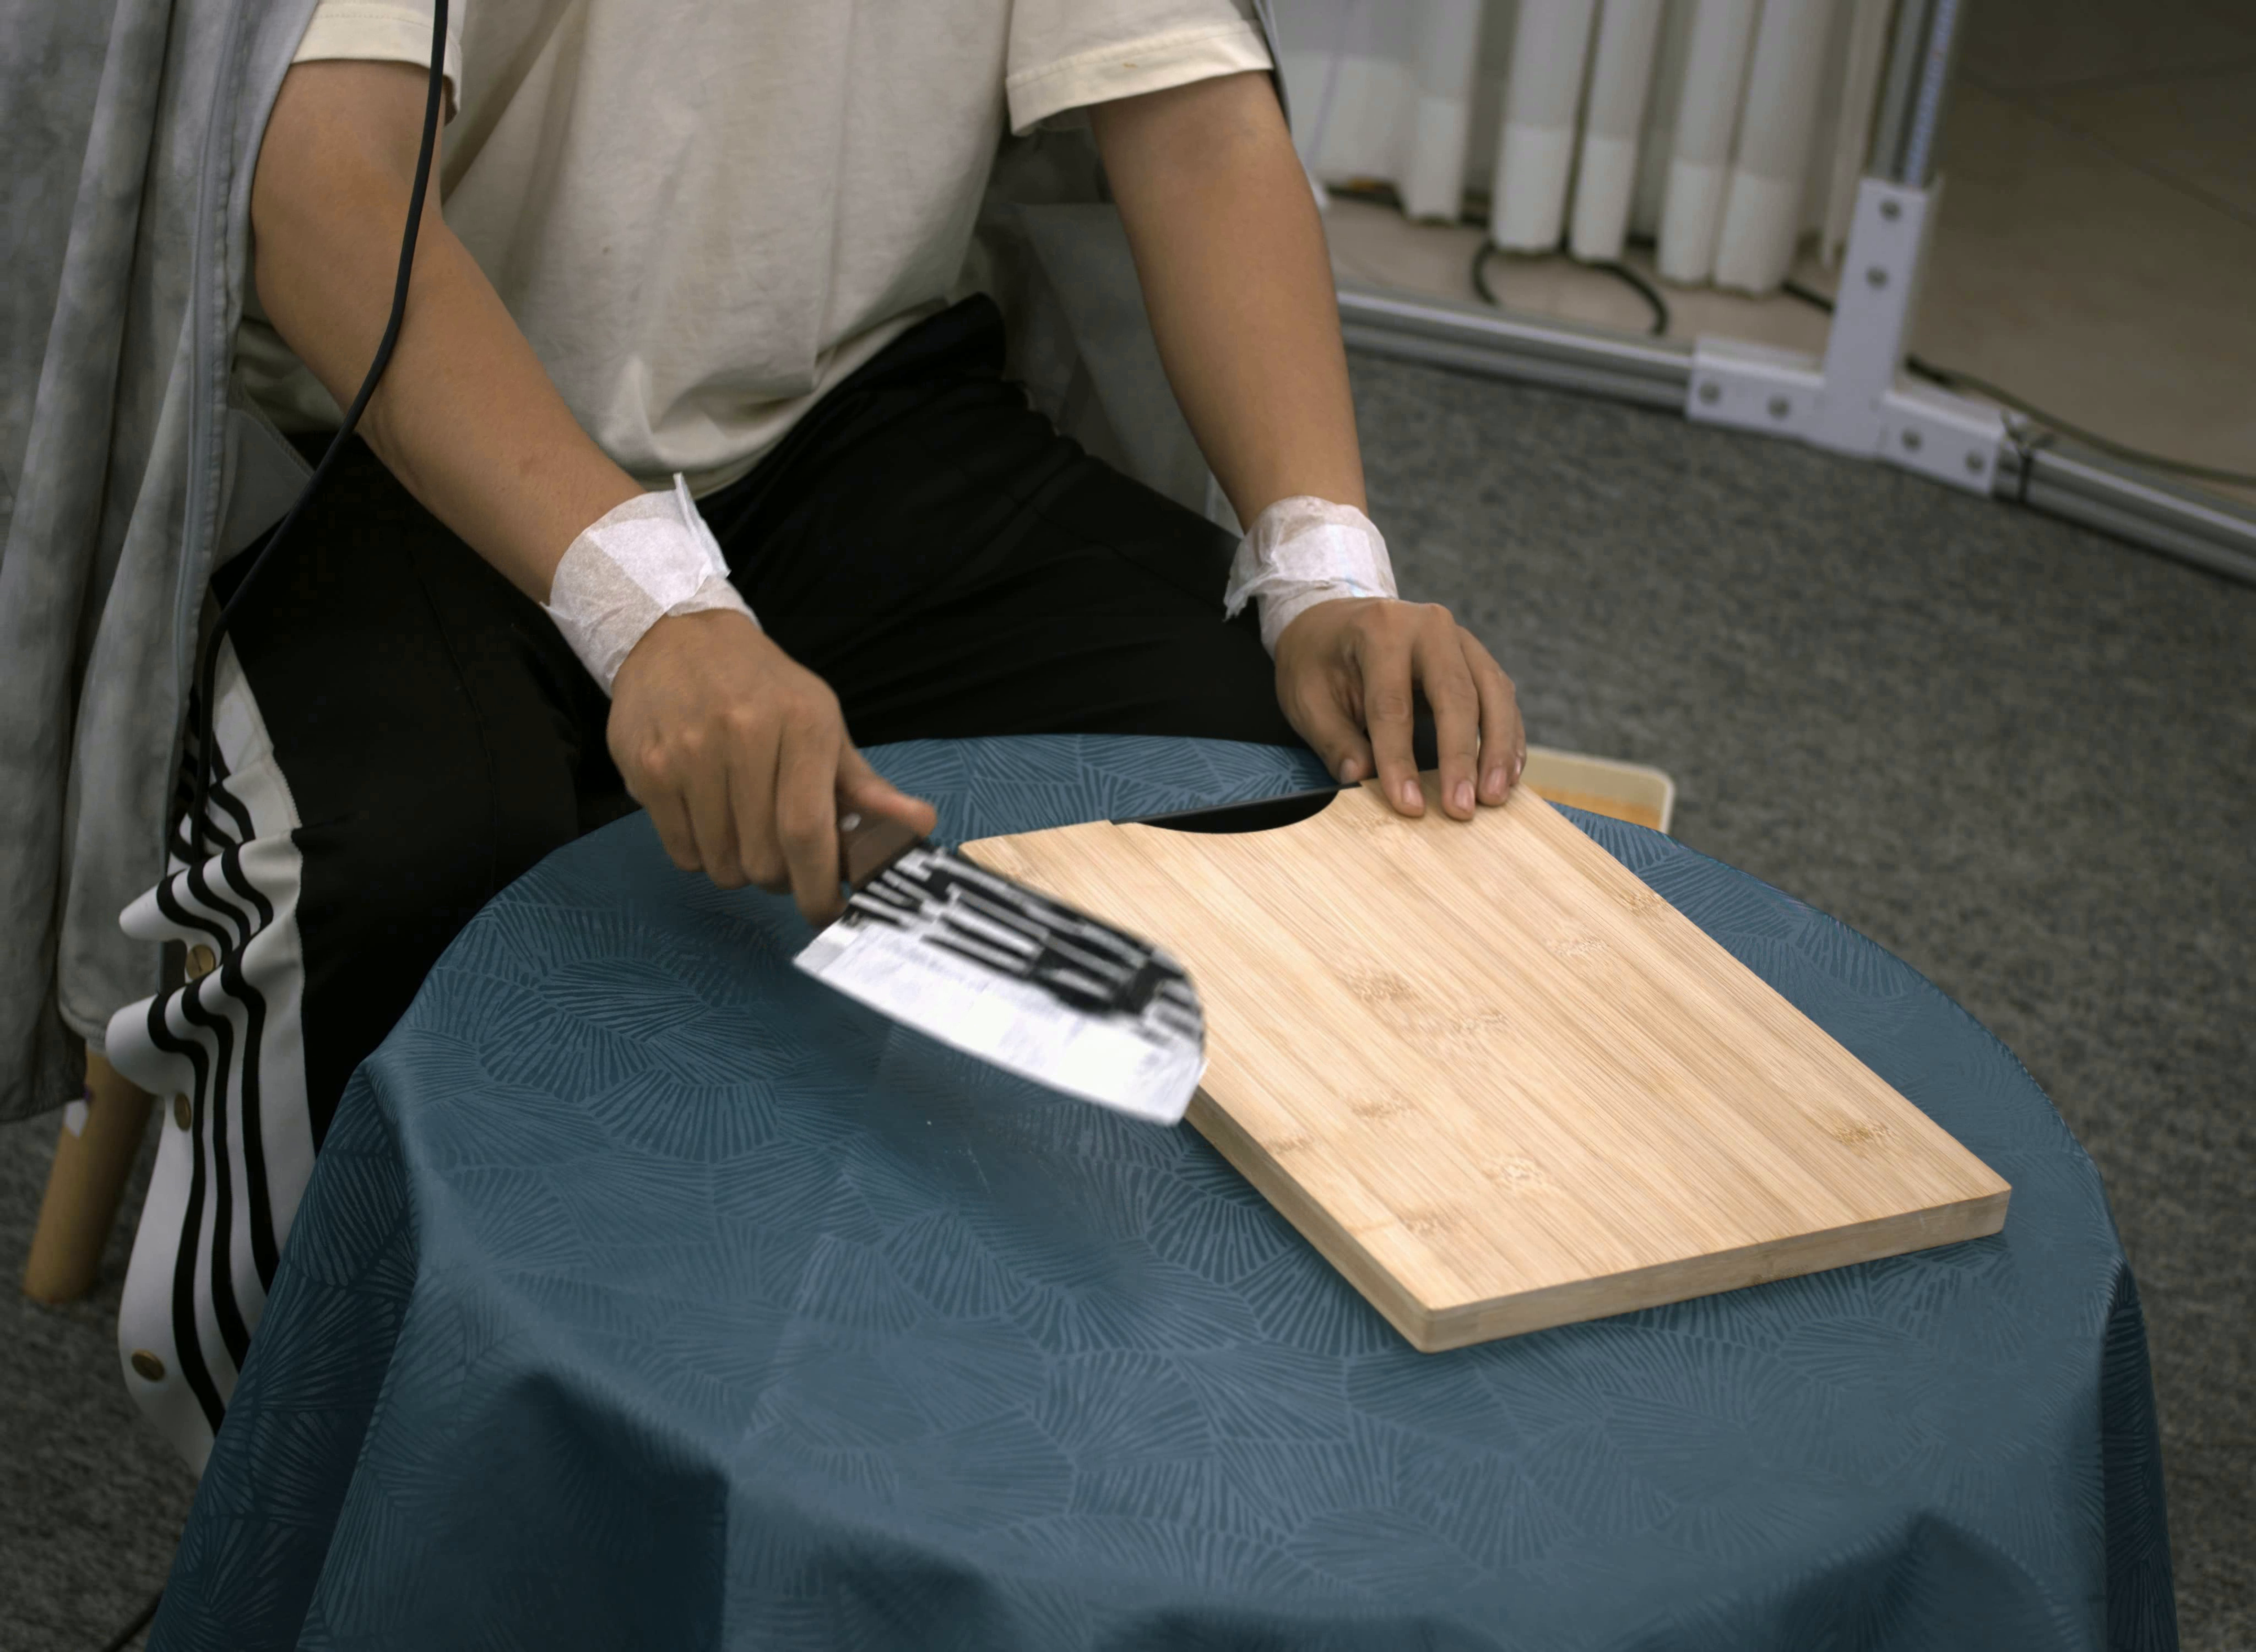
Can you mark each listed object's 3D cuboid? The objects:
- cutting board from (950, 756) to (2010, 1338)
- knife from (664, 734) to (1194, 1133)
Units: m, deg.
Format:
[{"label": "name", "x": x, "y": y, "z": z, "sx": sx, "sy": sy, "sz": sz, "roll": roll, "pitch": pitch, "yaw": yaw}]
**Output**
[{"label": "cutting board", "x": 0.118, "y": 0.072, "z": 1.915, "sx": 0.249, "sy": 0.023, "sz": 0.352, "roll": -9, "pitch": 30, "yaw": -29}, {"label": "knife", "x": -0.077, "y": 0.036, "z": 1.845, "sx": 0.302, "sy": 0.024, "sz": 0.068, "roll": 26, "pitch": 60, "yaw": 41}]
